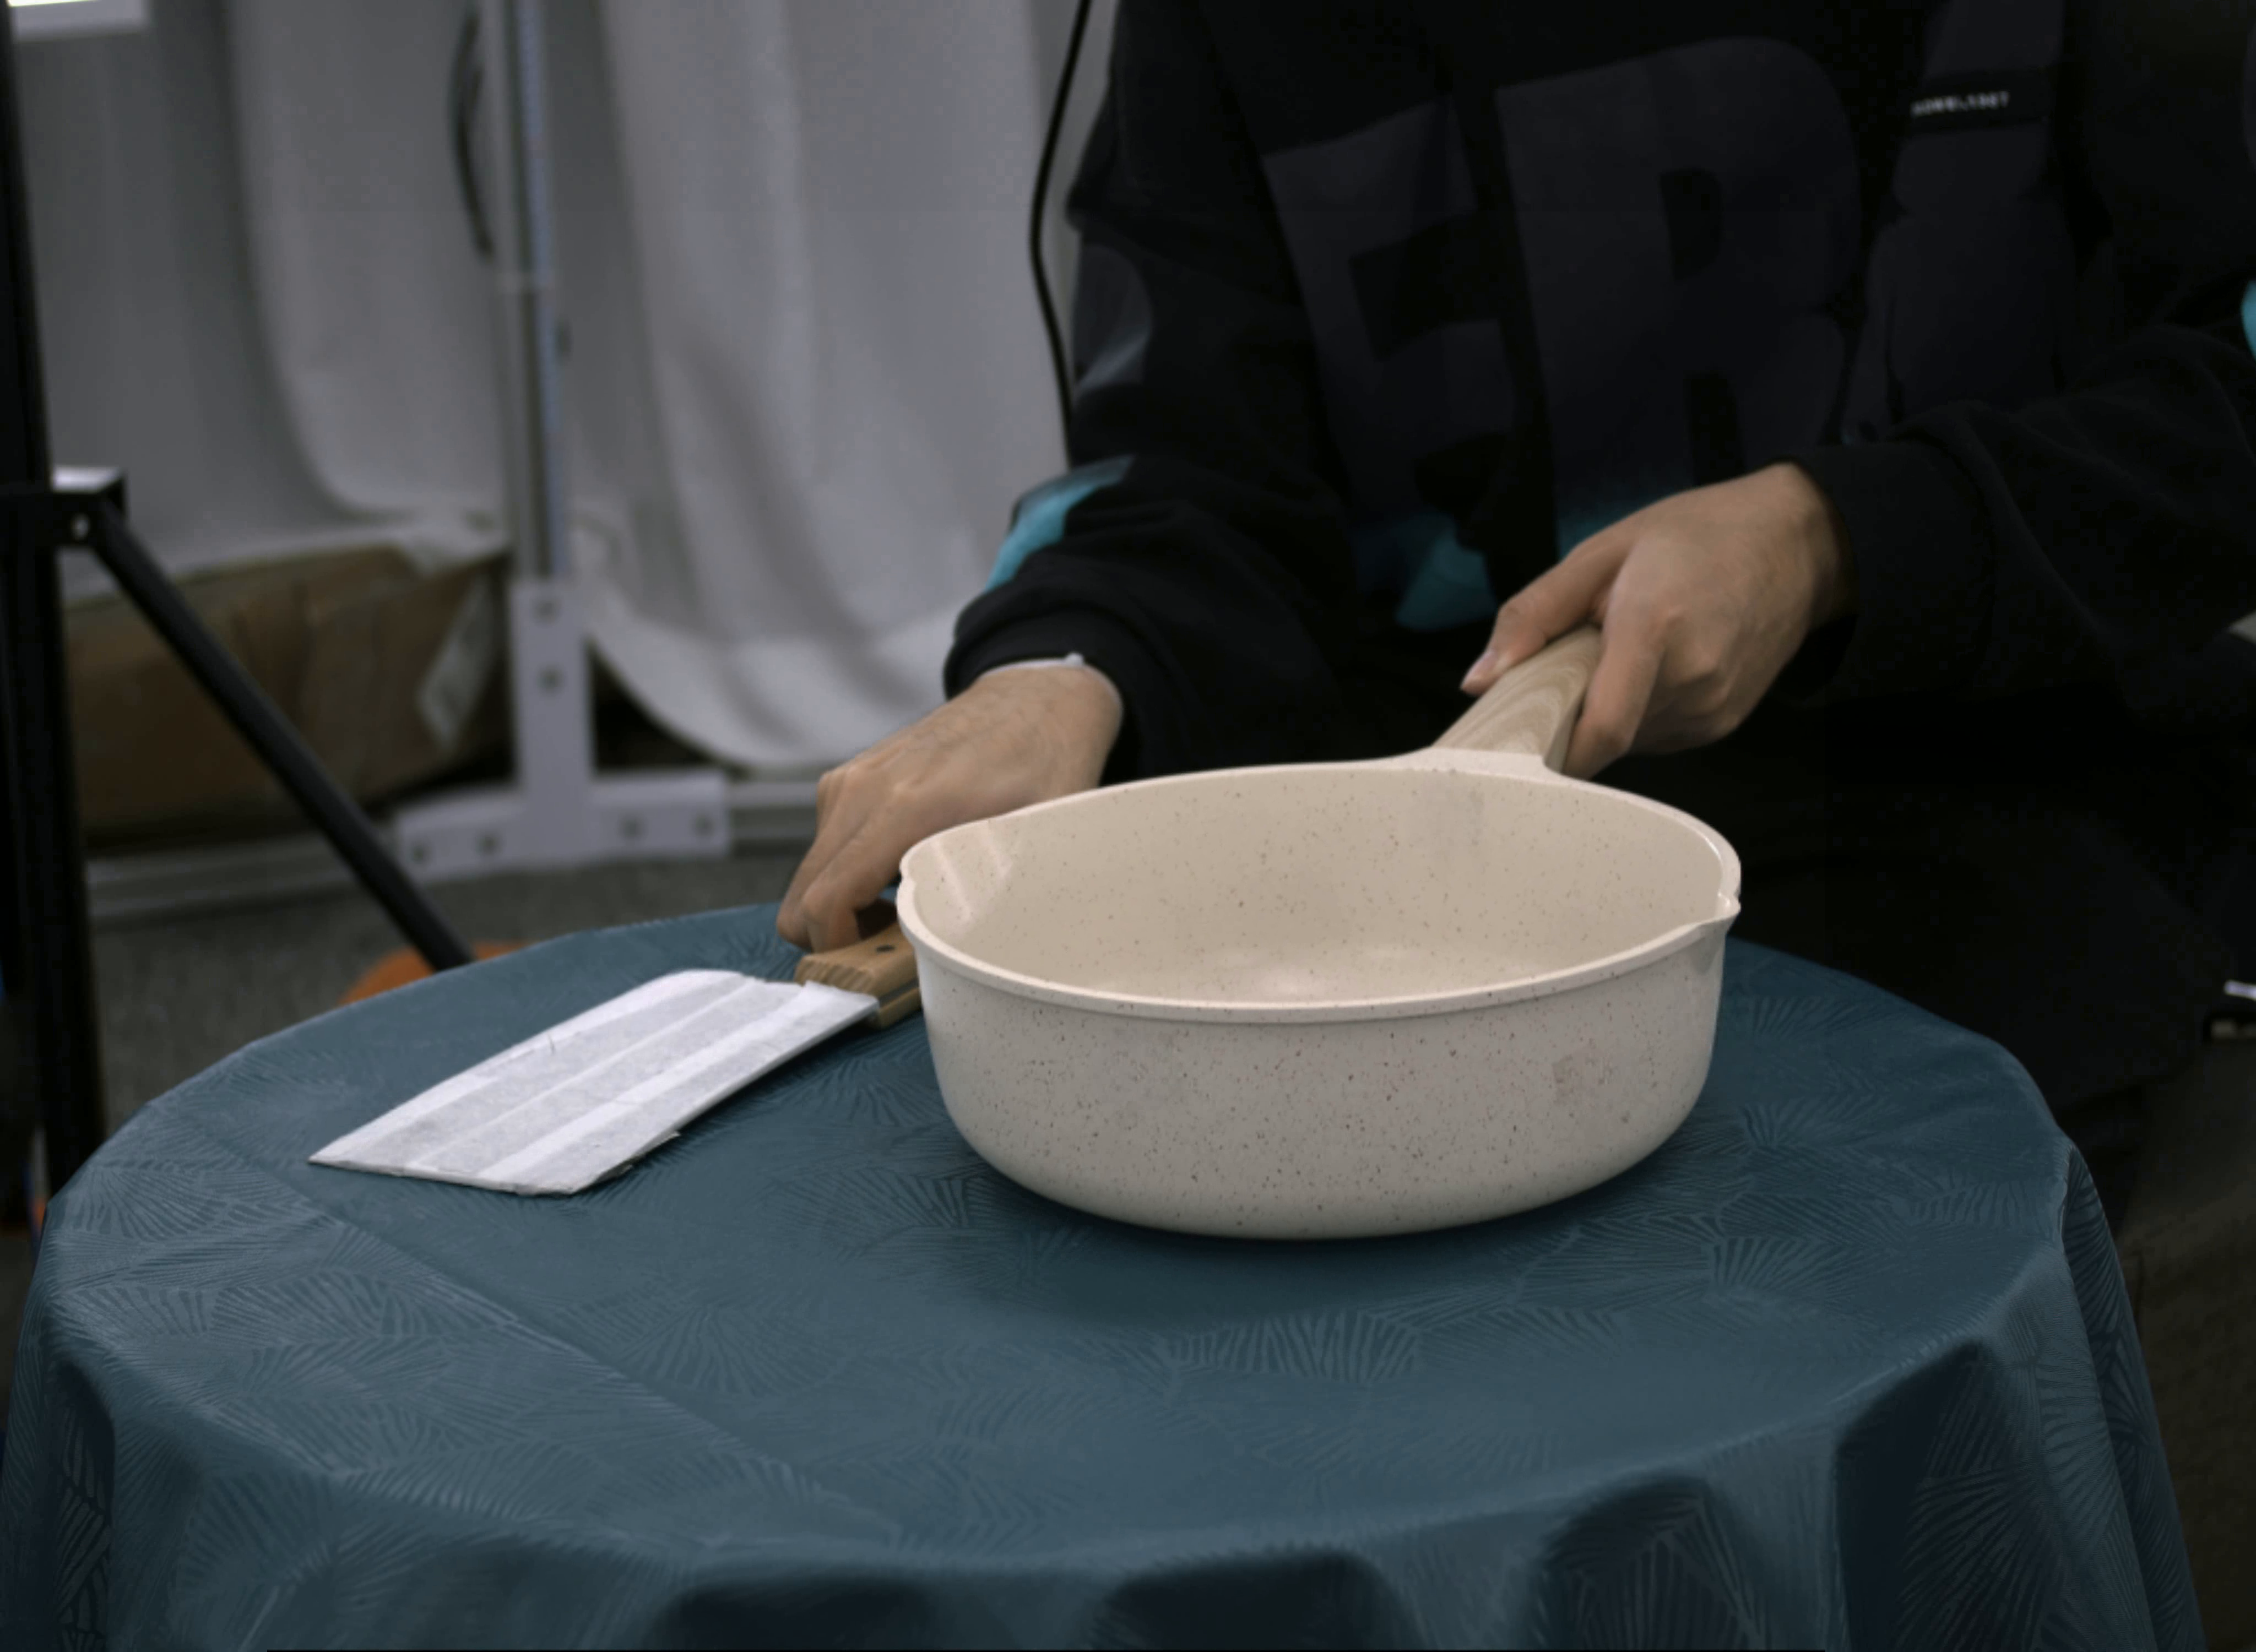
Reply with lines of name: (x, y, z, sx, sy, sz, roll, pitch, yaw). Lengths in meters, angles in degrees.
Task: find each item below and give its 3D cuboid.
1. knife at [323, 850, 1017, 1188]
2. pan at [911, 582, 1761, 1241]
knife: (-0.121, 0.062, 1.708, 0.116, 0.022, 0.309, 8, 22, 37)
pan: (0.097, 0.023, 1.660, 0.267, 0.102, 0.429, 2, 16, 24)
